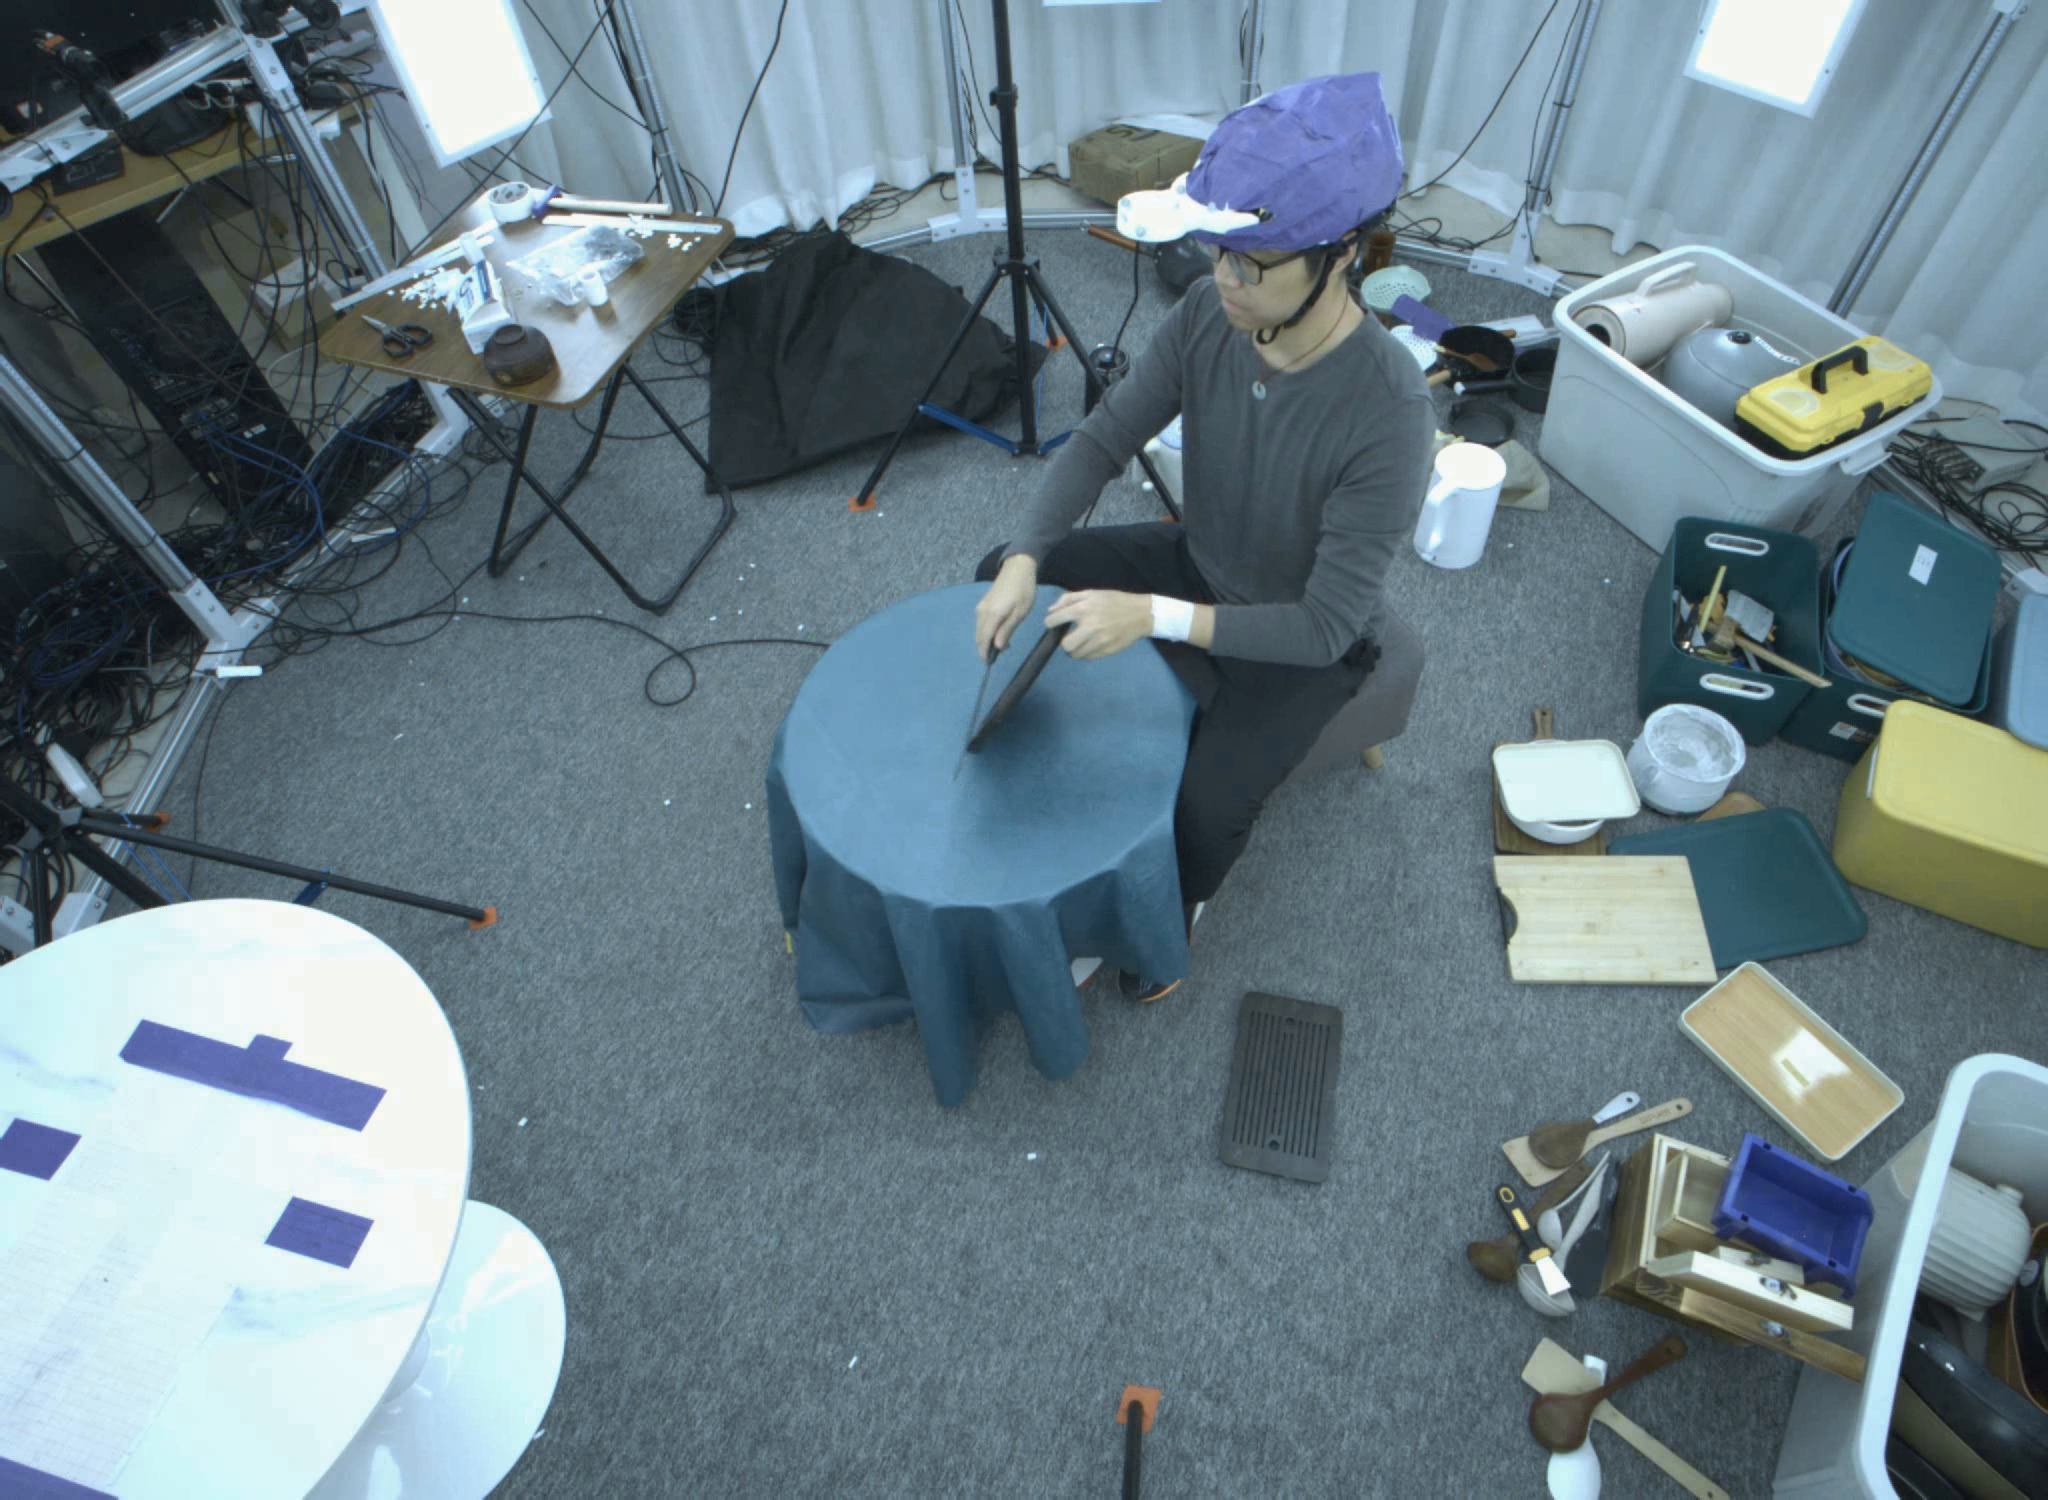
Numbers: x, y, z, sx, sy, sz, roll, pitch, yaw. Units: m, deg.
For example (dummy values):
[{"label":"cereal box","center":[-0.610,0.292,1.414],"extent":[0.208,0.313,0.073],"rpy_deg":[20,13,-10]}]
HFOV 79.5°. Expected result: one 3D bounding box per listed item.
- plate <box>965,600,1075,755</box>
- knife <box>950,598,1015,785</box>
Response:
[{"label":"plate","center":[-0.004,-0.098,1.728],"extent":[0.029,0.253,0.255],"rpy_deg":[34,59,-4]},{"label":"knife","center":[-0.059,-0.089,1.724],"extent":[0.021,0.080,0.301],"rpy_deg":[20,64,-8]}]
